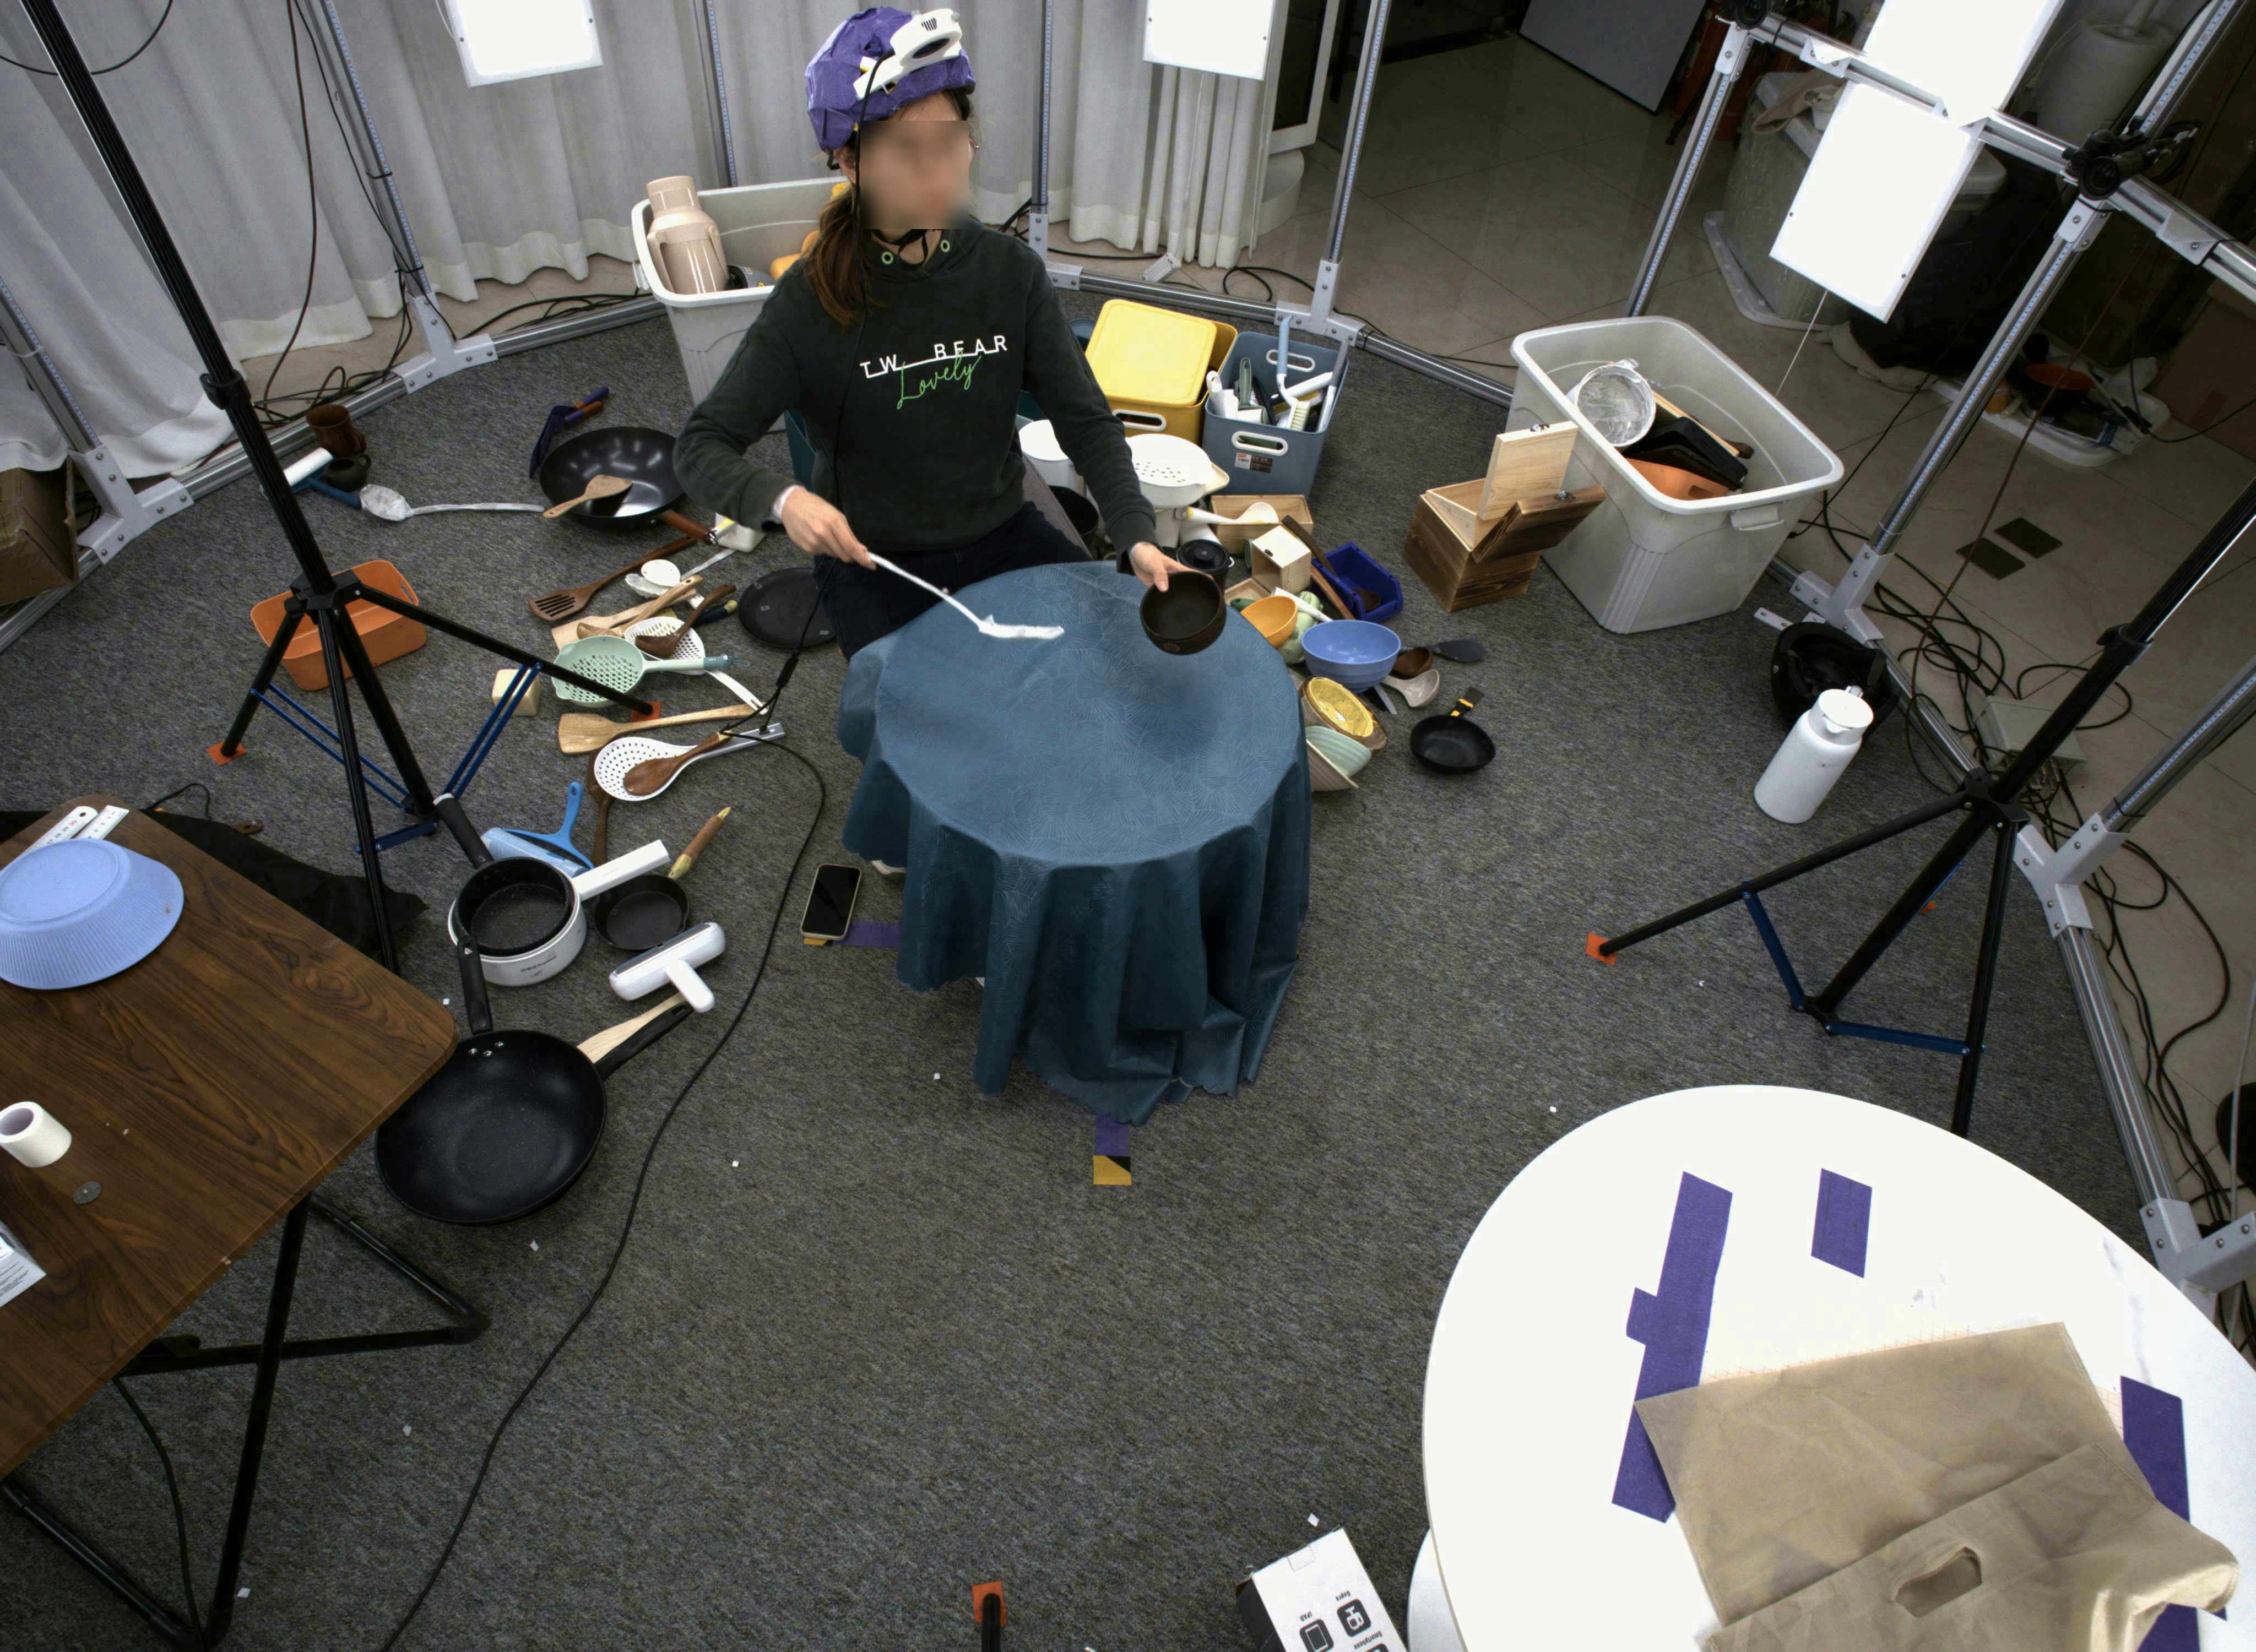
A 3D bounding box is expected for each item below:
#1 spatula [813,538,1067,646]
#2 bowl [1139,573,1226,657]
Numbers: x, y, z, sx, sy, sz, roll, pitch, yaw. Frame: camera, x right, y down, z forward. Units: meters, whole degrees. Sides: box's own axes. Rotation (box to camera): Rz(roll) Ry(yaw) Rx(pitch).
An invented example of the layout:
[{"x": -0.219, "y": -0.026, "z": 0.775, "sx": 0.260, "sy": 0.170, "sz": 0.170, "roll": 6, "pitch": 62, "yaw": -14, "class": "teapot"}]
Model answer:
[{"x": -0.250, "y": -0.304, "z": 1.656, "sx": 0.367, "sy": 0.044, "sz": 0.099, "roll": 29, "pitch": 23, "yaw": 10, "class": "spatula"}, {"x": 0.080, "y": -0.285, "z": 1.783, "sx": 0.118, "sy": 0.068, "sz": 0.121, "roll": -8, "pitch": 57, "yaw": 12, "class": "bowl"}]
